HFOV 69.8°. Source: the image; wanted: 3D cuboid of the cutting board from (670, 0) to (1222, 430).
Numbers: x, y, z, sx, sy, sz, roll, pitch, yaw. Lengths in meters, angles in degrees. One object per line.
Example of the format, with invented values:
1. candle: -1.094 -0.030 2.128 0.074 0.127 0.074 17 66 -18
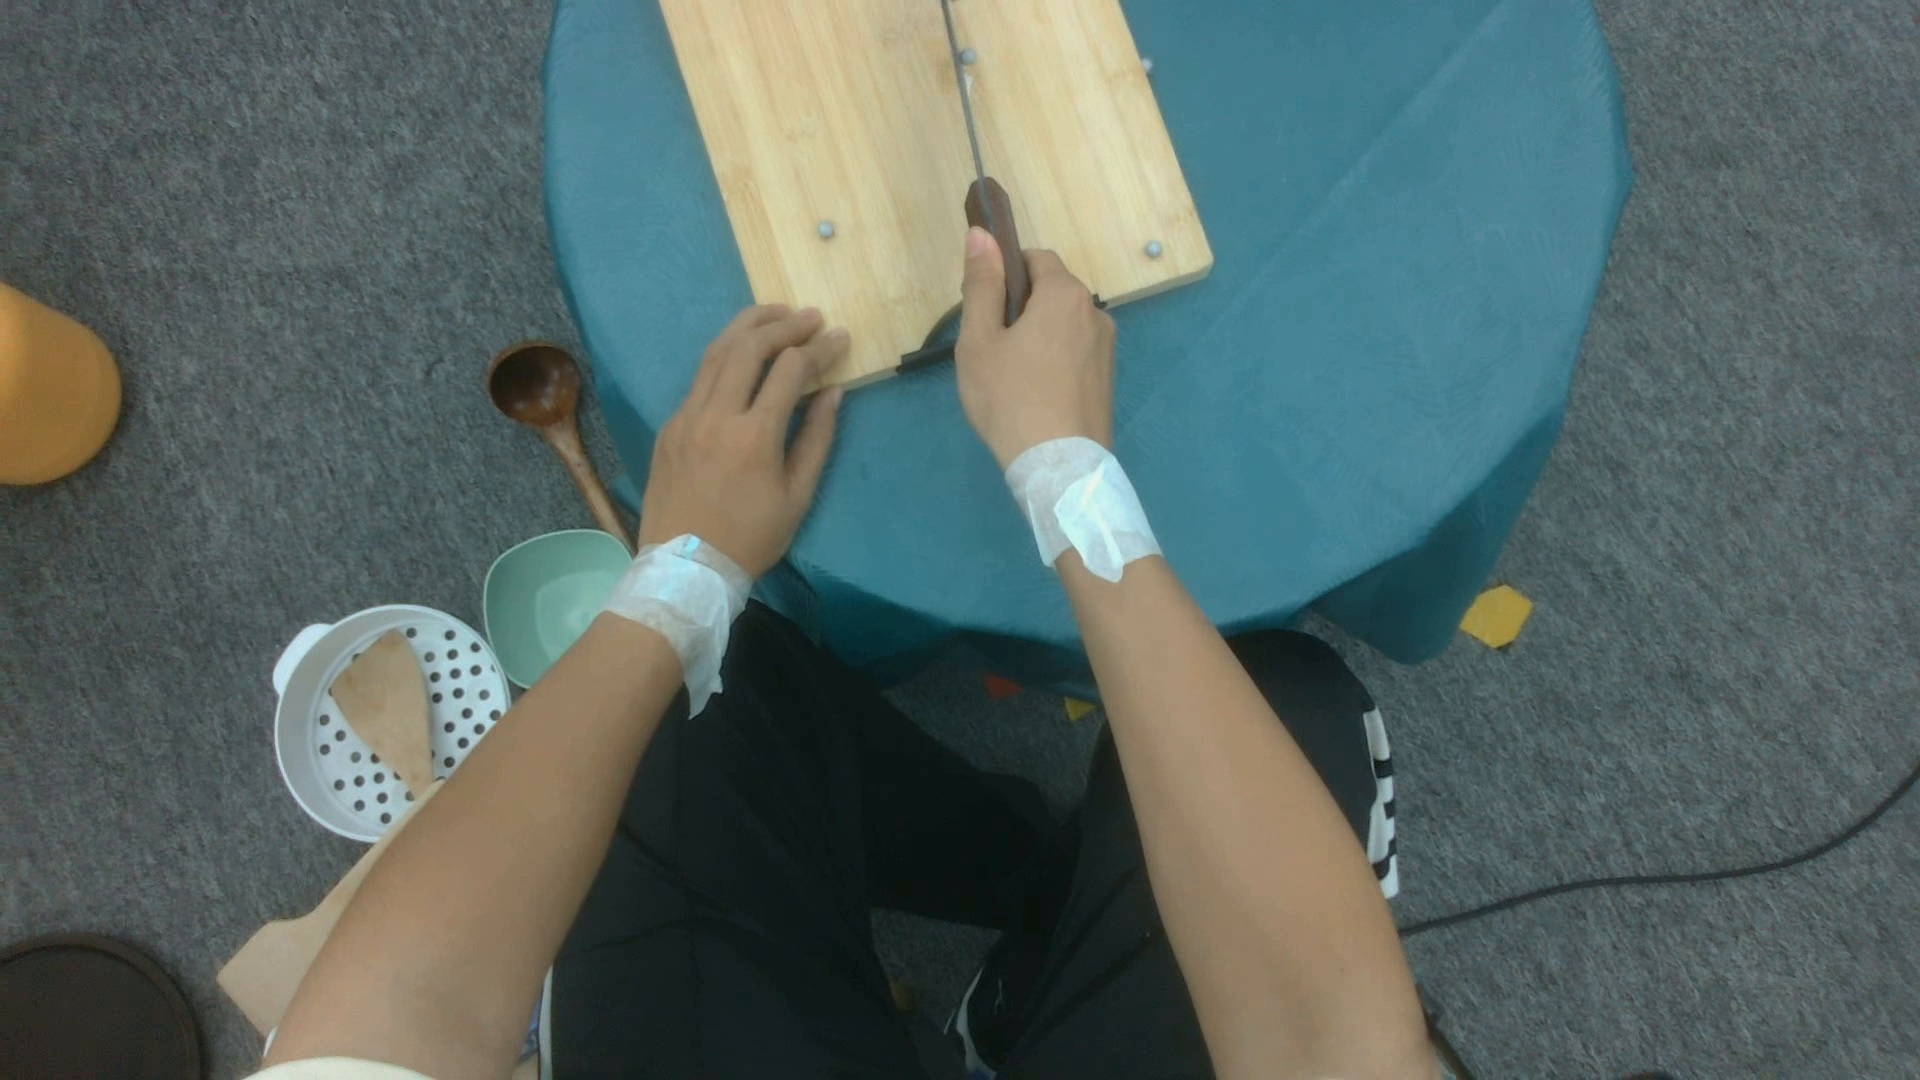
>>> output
1. cutting board: -0.024 -0.259 0.779 0.251 0.023 0.349 -19 80 -4

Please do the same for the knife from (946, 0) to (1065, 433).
1. knife: 0.015 -0.189 0.717 0.024 0.068 0.300 -13 75 5
